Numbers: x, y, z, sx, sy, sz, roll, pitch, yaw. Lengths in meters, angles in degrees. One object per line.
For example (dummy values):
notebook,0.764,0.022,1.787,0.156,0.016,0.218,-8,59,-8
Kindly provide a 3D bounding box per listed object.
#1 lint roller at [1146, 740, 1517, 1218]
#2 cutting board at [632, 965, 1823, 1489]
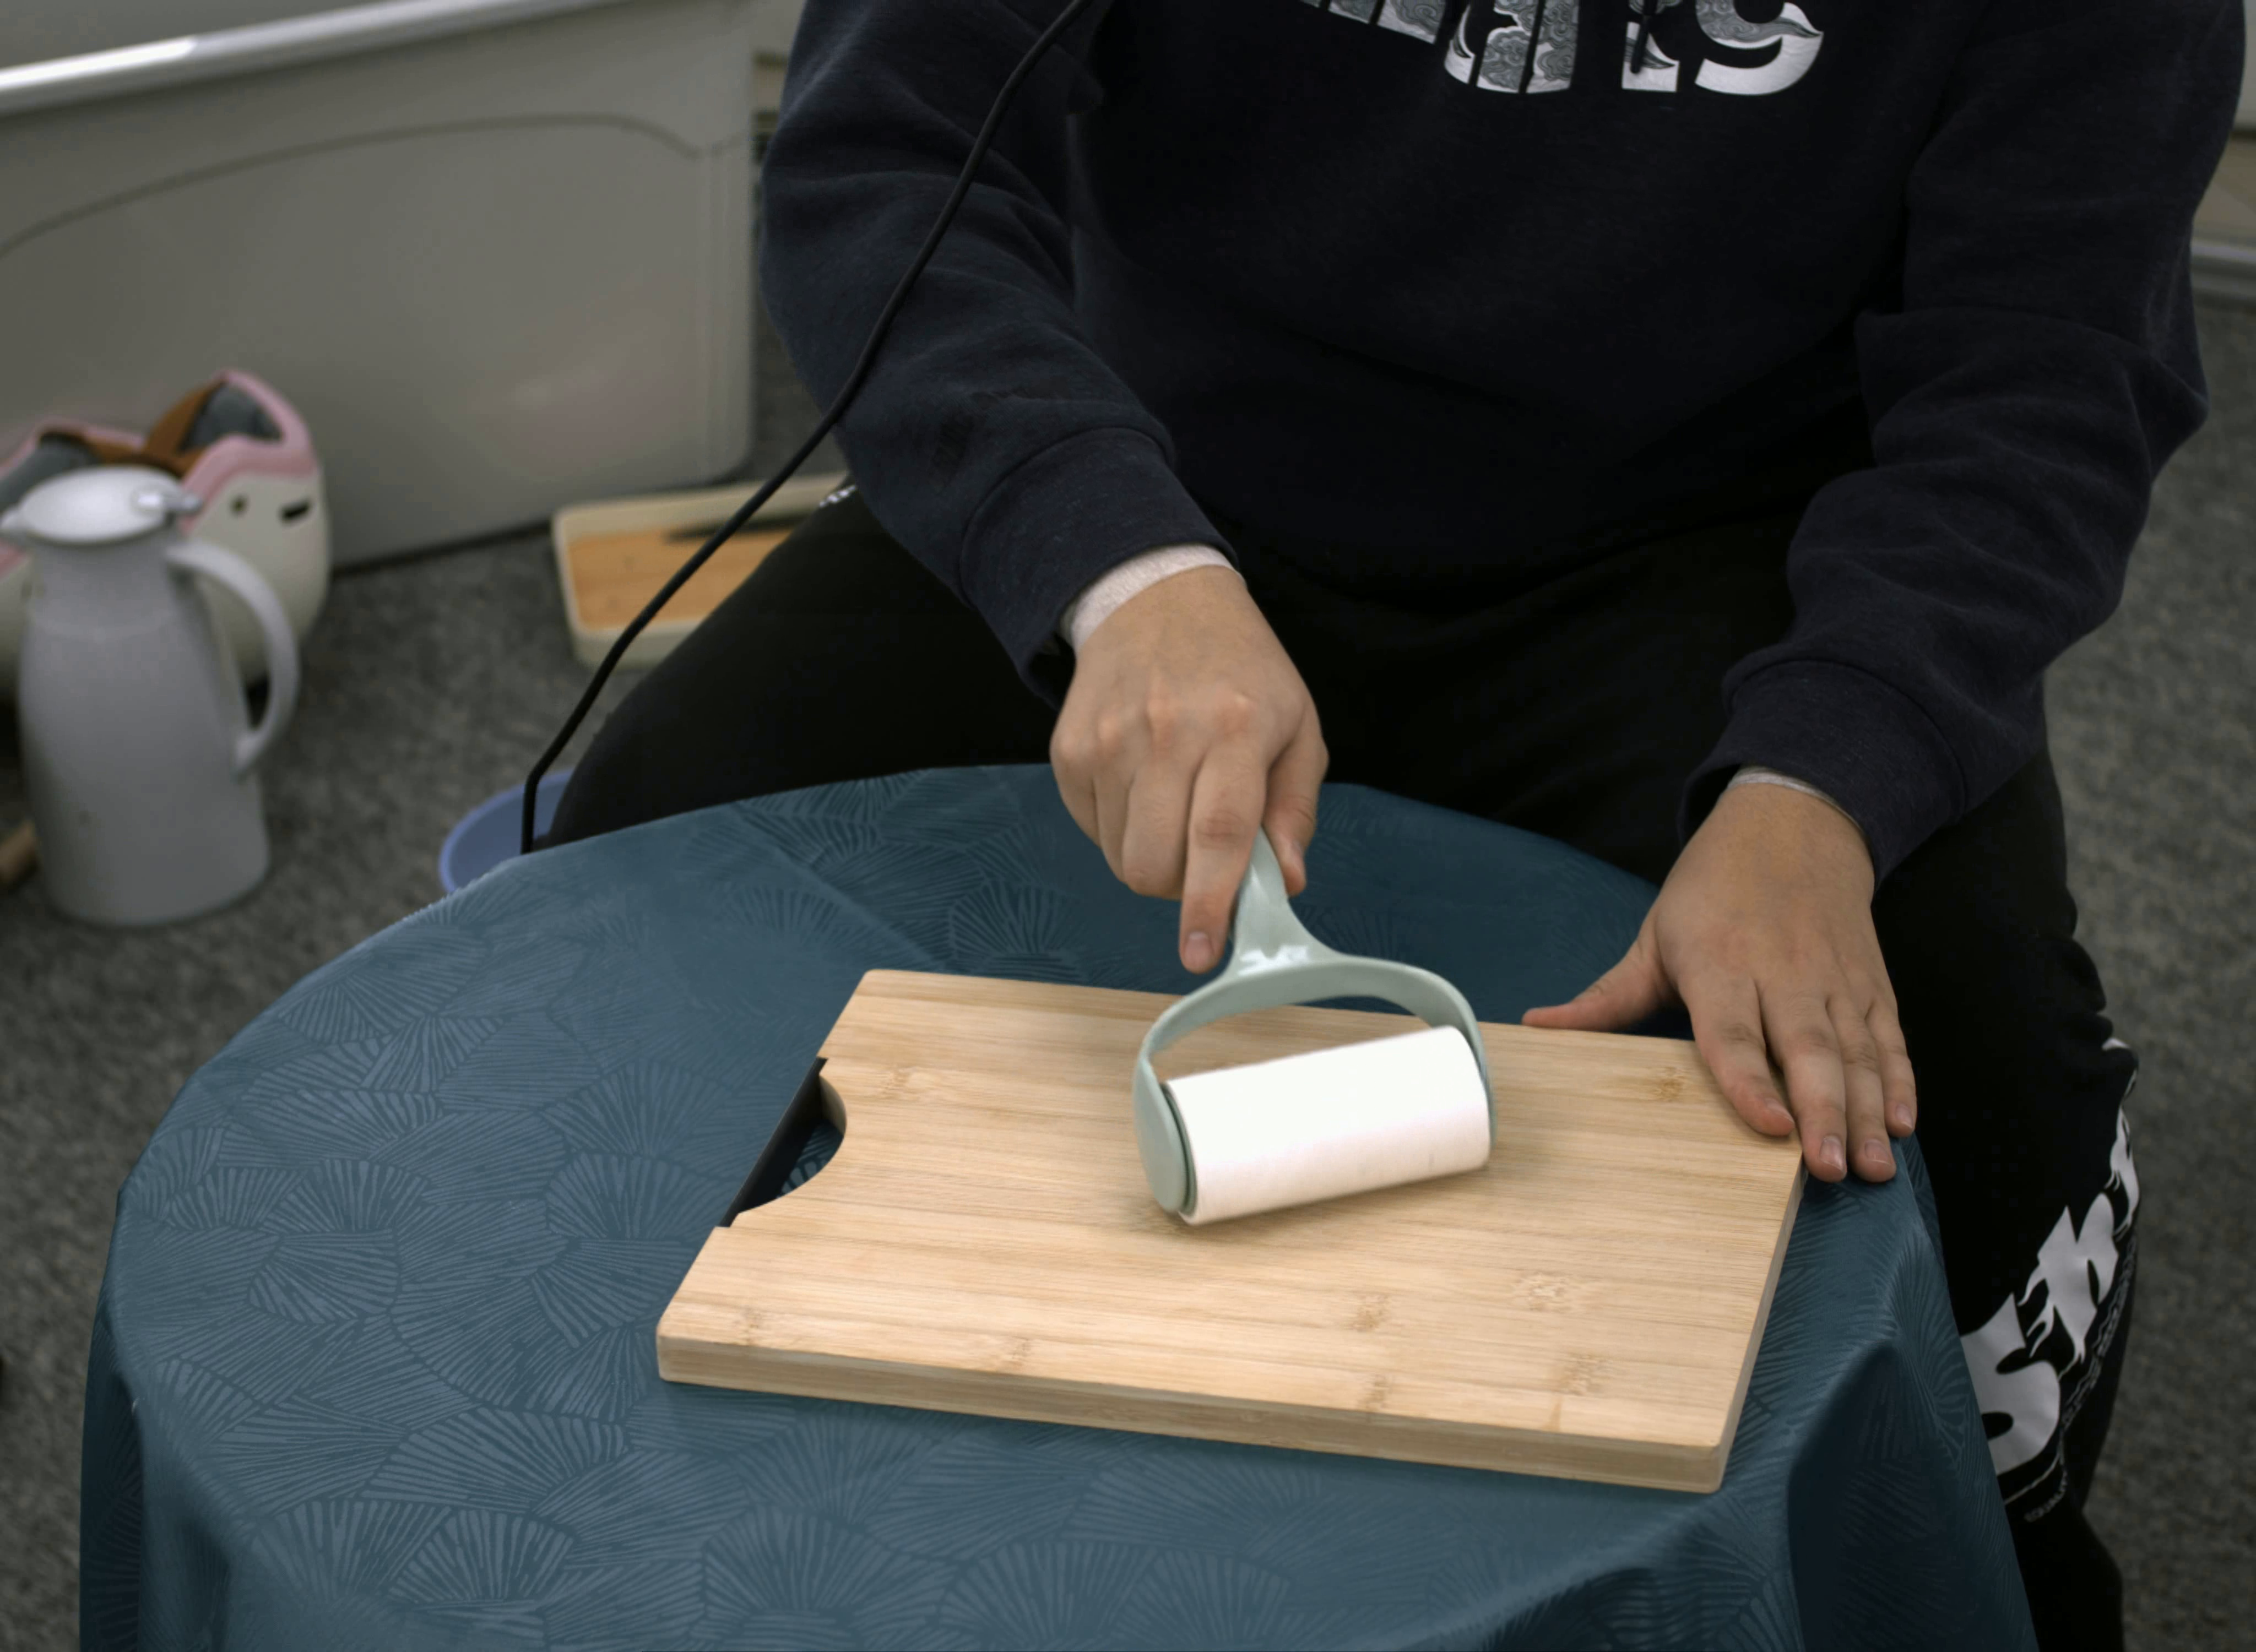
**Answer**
lint roller,0.048,0.038,1.870,0.117,0.048,0.200,-11,52,-13
cutting board,0.038,0.126,1.836,0.346,0.023,0.255,4,28,13
